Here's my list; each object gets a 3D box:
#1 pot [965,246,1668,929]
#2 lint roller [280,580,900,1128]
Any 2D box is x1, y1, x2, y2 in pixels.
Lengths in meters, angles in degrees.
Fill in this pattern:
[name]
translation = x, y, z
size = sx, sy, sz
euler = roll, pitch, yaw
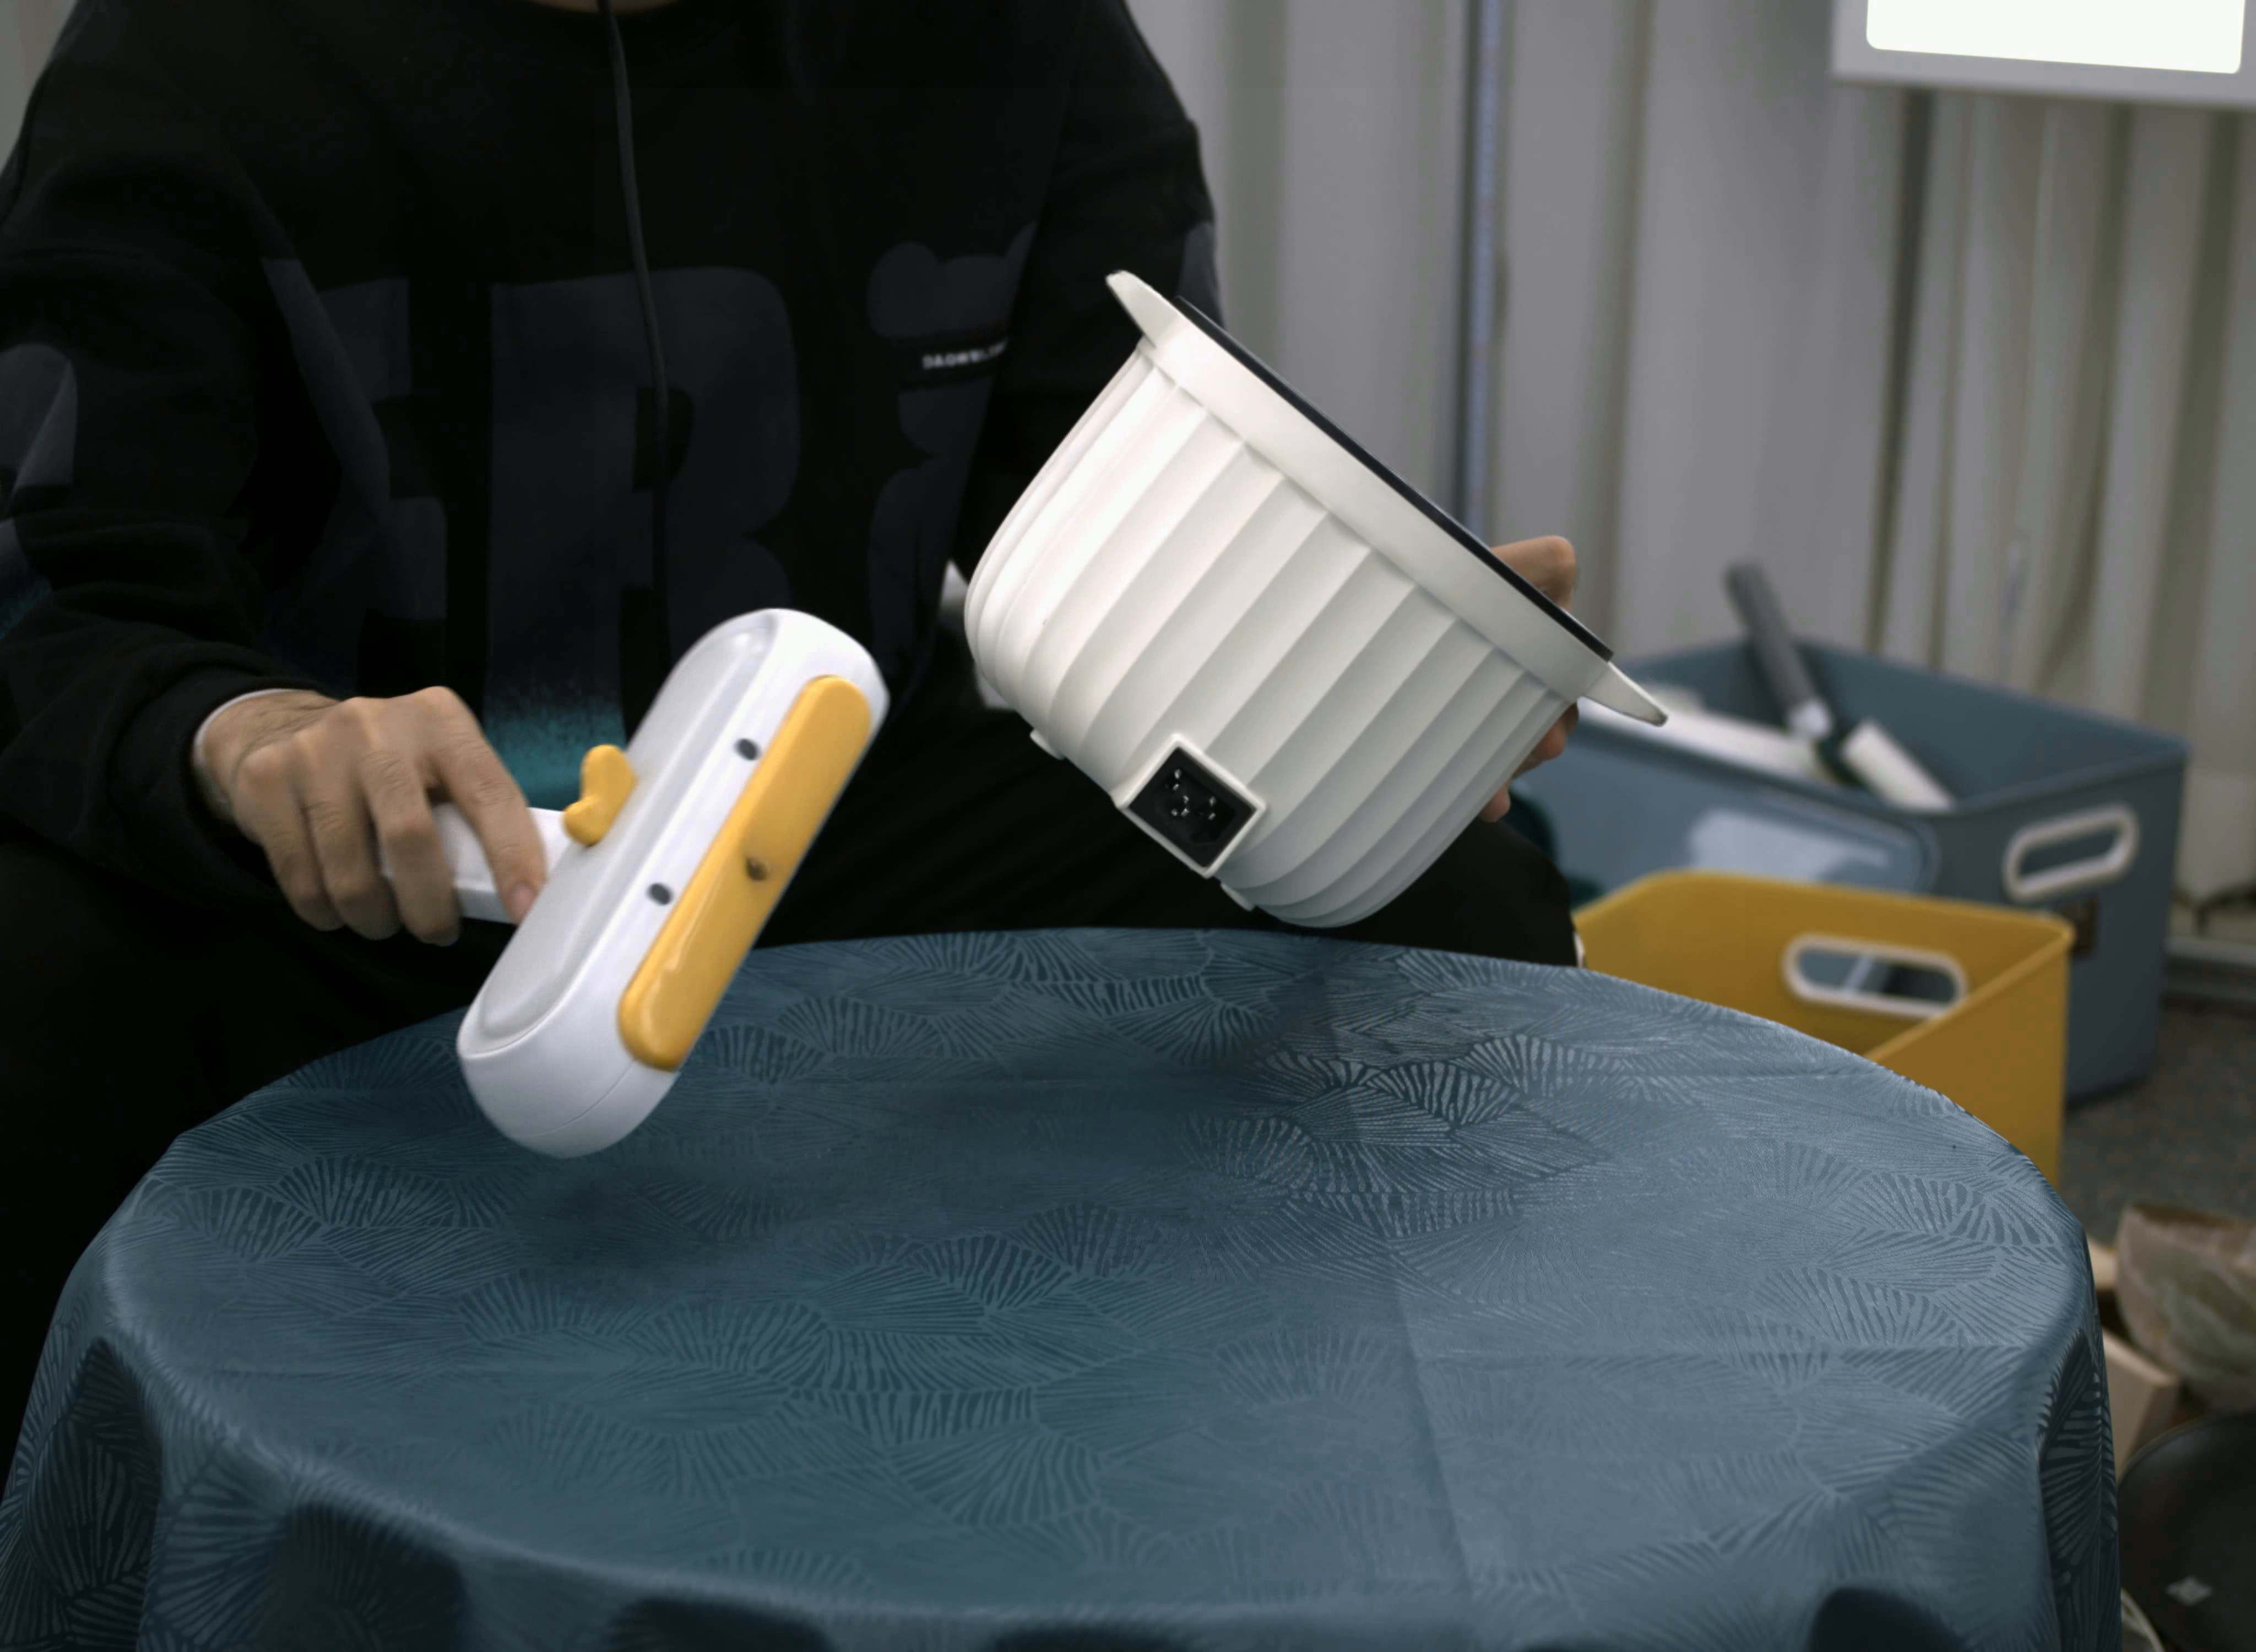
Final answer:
[pot]
translation = 0.042, -0.063, 1.685
size = 0.242, 0.143, 0.189
euler = 40, 7, -13
[lint roller]
translation = -0.179, 0.008, 1.622
size = 0.190, 0.075, 0.192
euler = -7, 48, 39
